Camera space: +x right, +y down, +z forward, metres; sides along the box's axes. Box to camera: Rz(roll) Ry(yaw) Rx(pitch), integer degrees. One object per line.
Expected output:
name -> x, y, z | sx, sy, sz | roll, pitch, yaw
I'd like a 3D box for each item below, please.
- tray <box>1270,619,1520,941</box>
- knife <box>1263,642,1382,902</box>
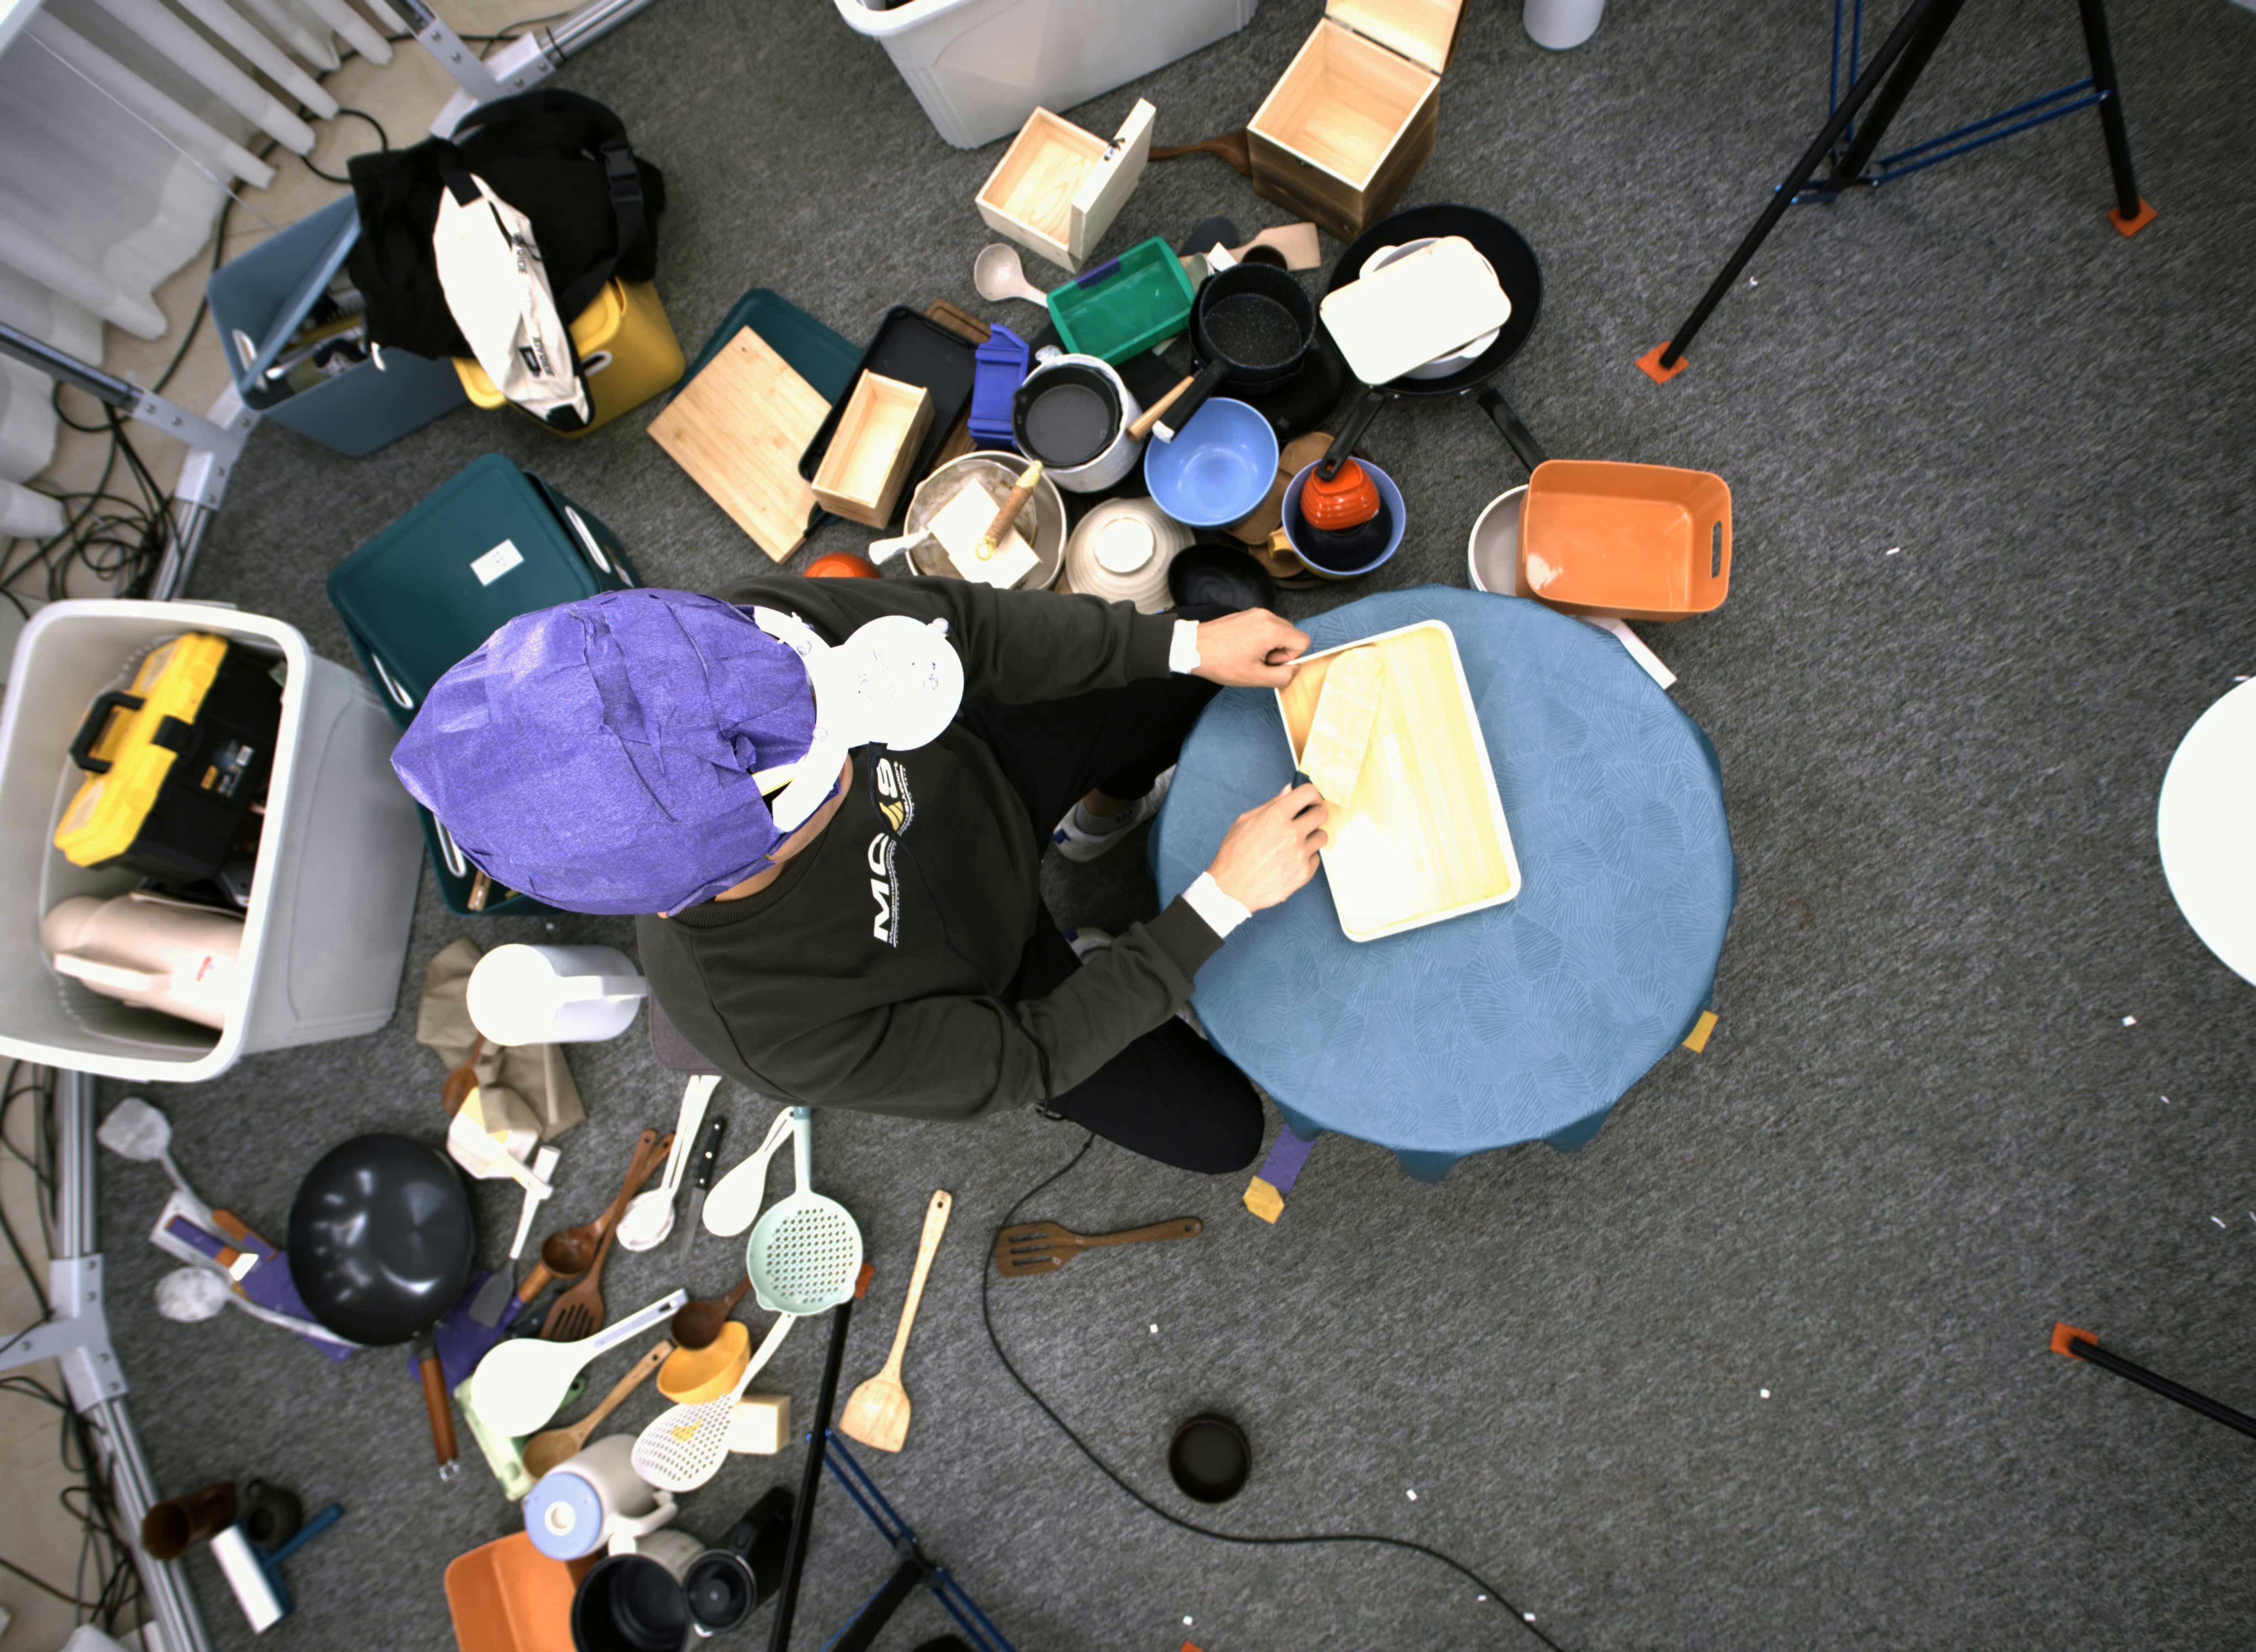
tray -> 0.275, -0.048, 1.422 | 0.192, 0.027, 0.301 | -16, 94, 7
knife -> 0.199, -0.055, 1.391 | 0.081, 0.027, 0.288 | 24, 84, -25
